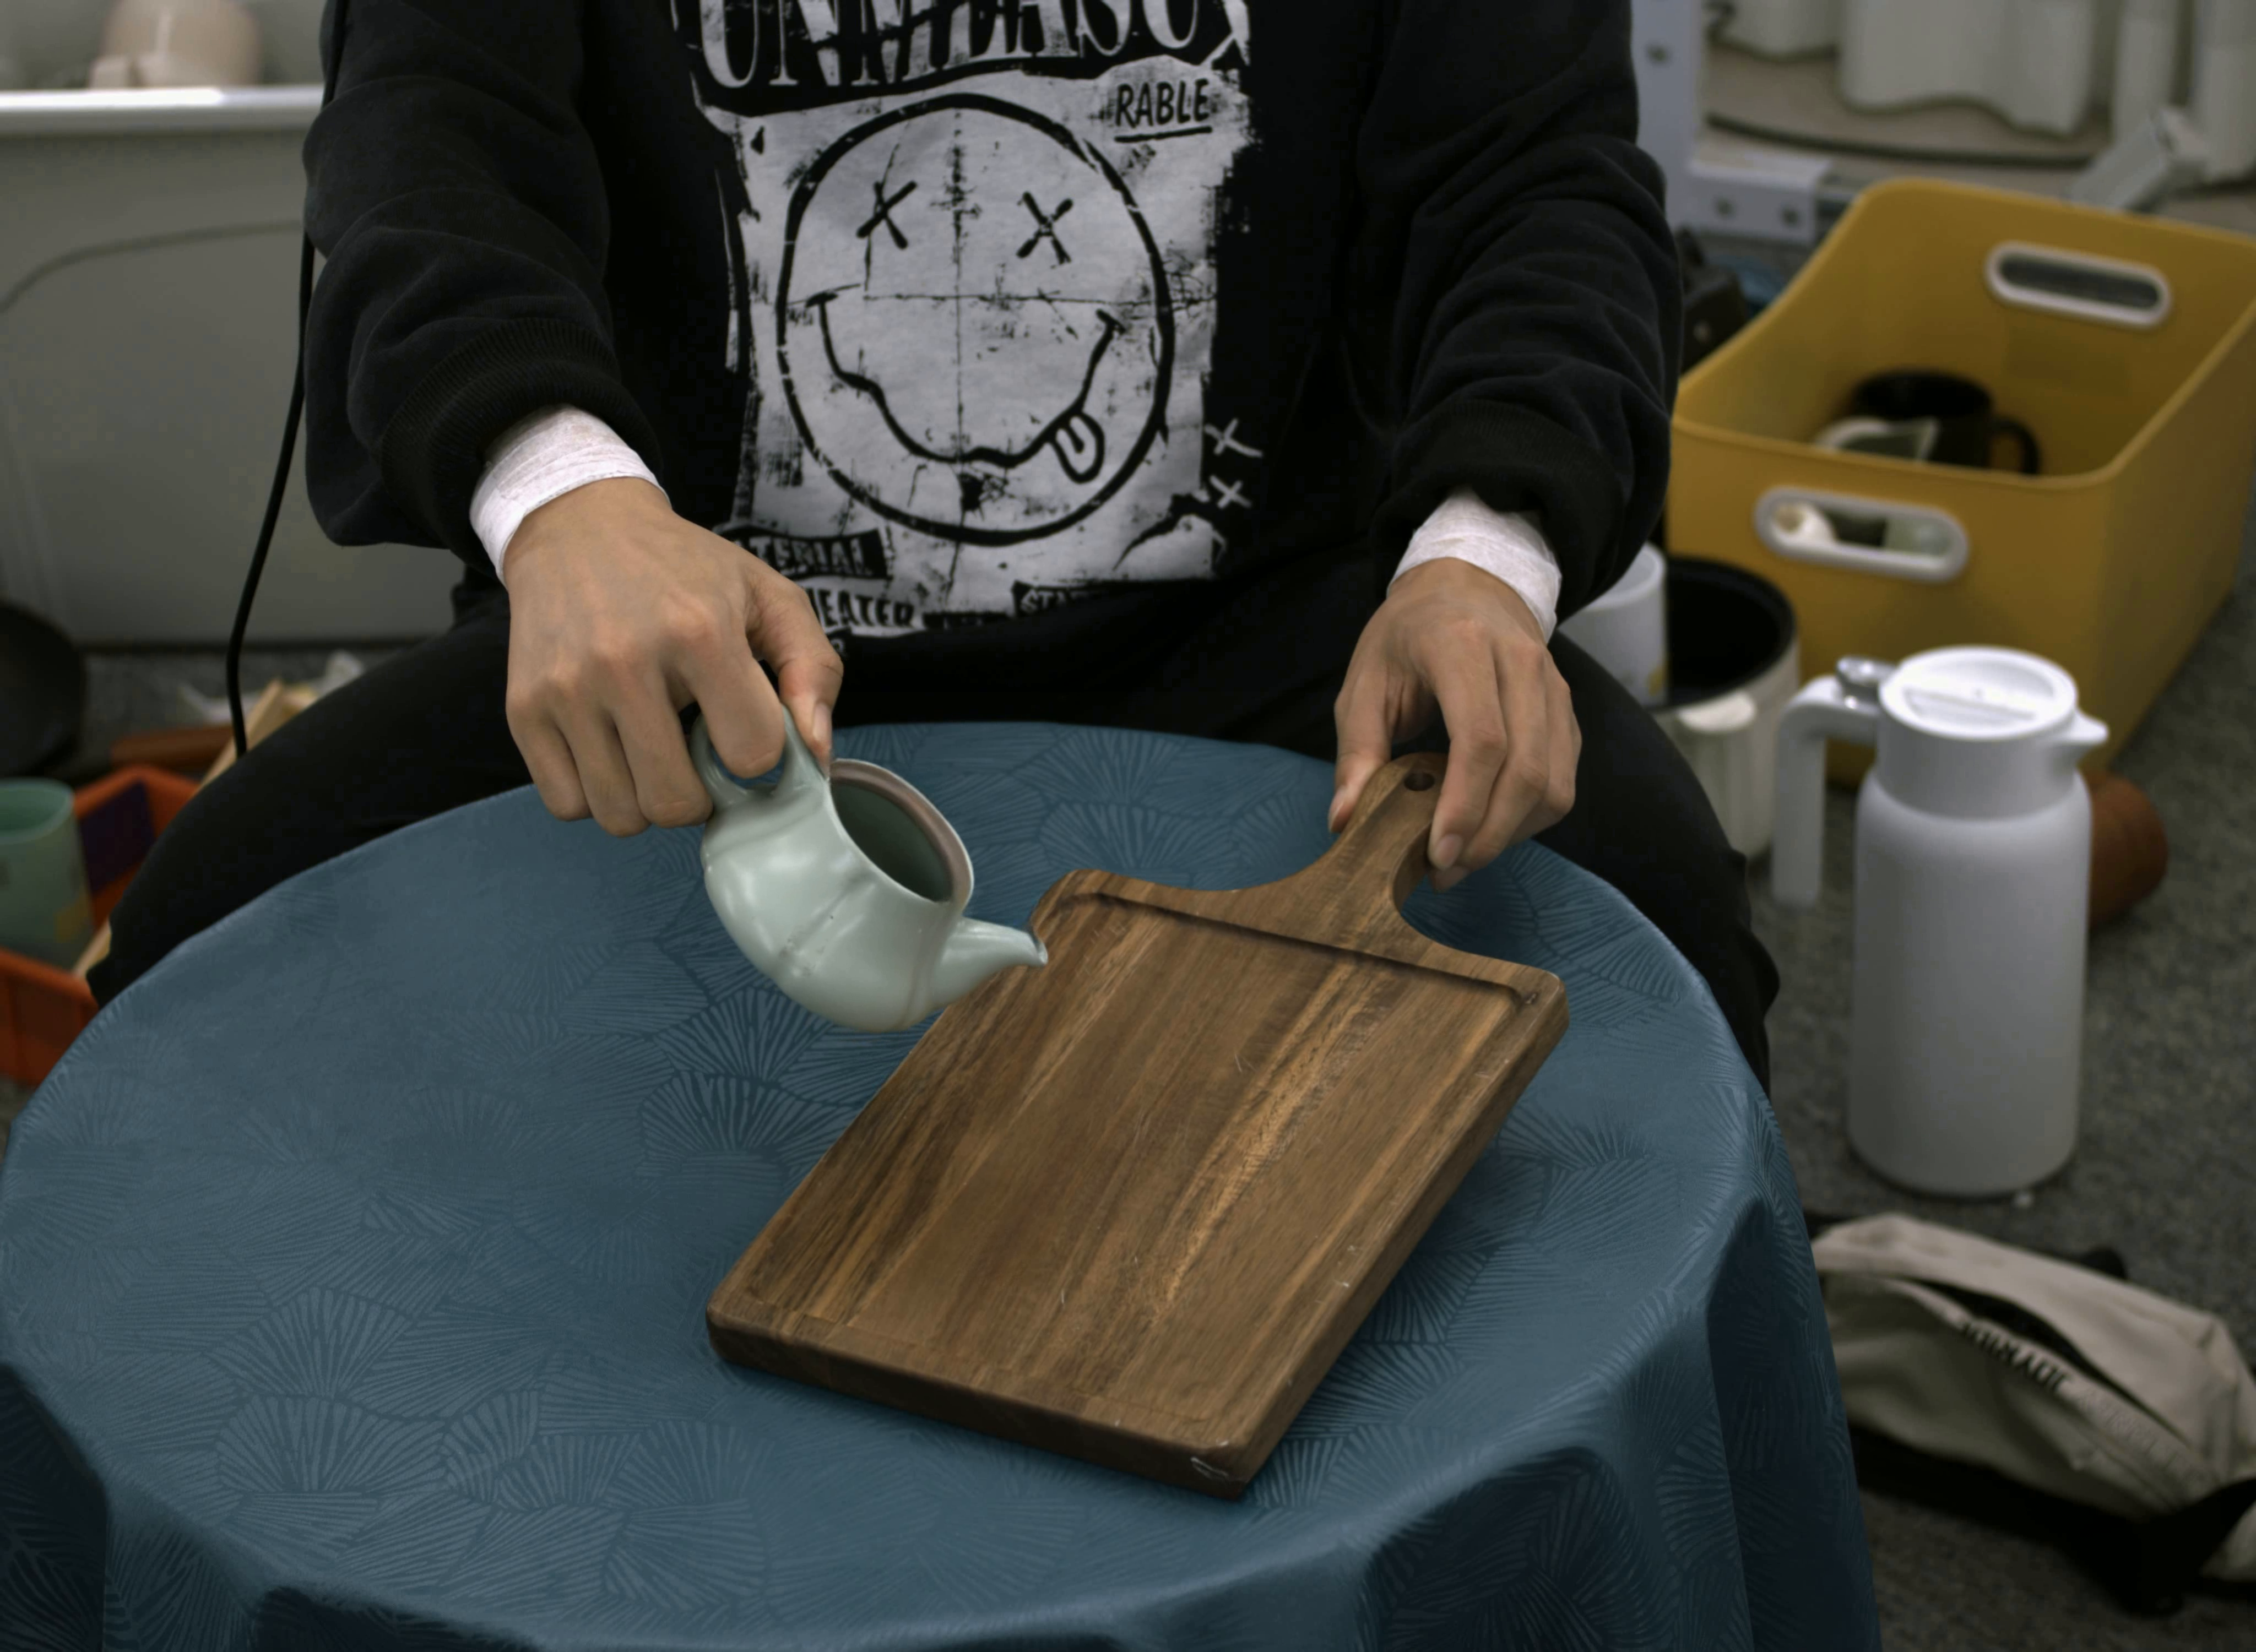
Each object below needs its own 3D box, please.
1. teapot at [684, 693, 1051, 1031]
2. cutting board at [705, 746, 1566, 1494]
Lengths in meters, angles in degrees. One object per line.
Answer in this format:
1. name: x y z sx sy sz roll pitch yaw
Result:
1. teapot: -0.093 0.015 1.810 0.136 0.060 0.098 42 26 -10
2. cutting board: 0.028 0.080 1.854 0.200 0.023 0.359 11 40 26
